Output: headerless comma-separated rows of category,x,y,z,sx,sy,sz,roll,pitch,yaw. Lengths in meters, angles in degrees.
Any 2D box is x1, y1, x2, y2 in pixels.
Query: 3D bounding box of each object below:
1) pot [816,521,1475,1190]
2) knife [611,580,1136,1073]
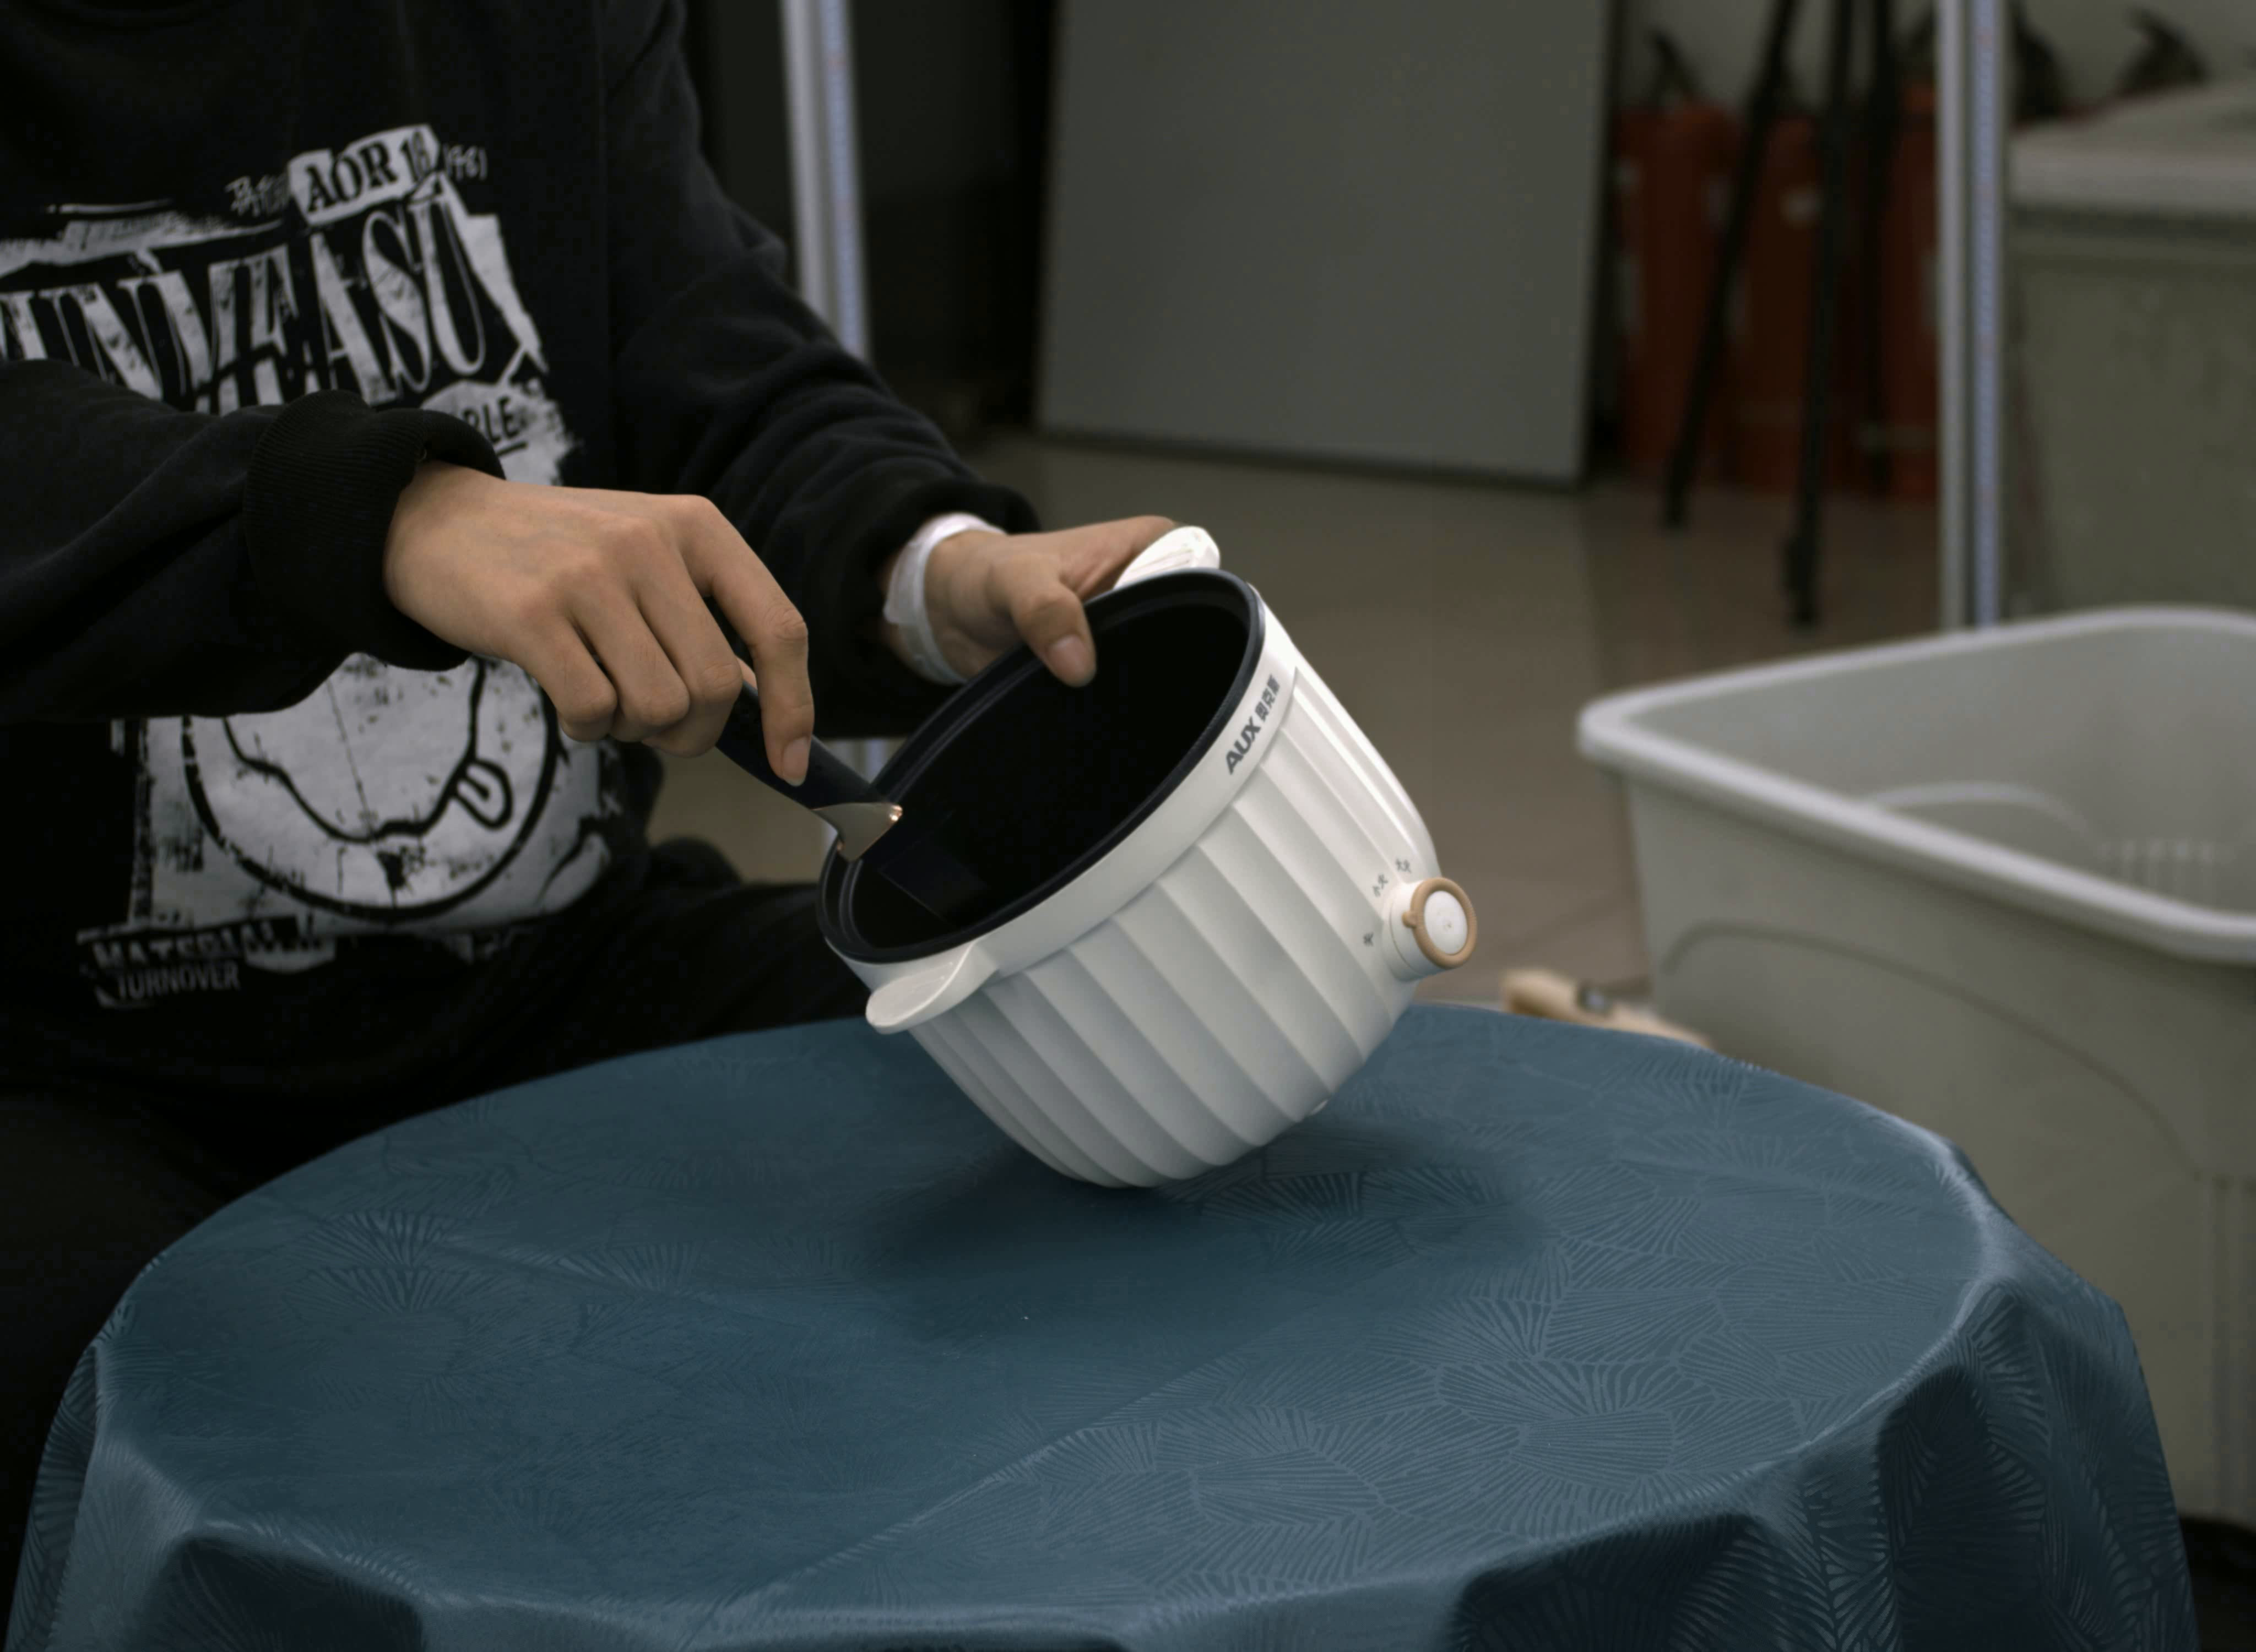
pot,0.012,0.021,1.777,0.192,0.141,0.240,-22,30,44
knife,-0.075,0.002,1.684,0.026,0.223,0.017,-48,14,1
